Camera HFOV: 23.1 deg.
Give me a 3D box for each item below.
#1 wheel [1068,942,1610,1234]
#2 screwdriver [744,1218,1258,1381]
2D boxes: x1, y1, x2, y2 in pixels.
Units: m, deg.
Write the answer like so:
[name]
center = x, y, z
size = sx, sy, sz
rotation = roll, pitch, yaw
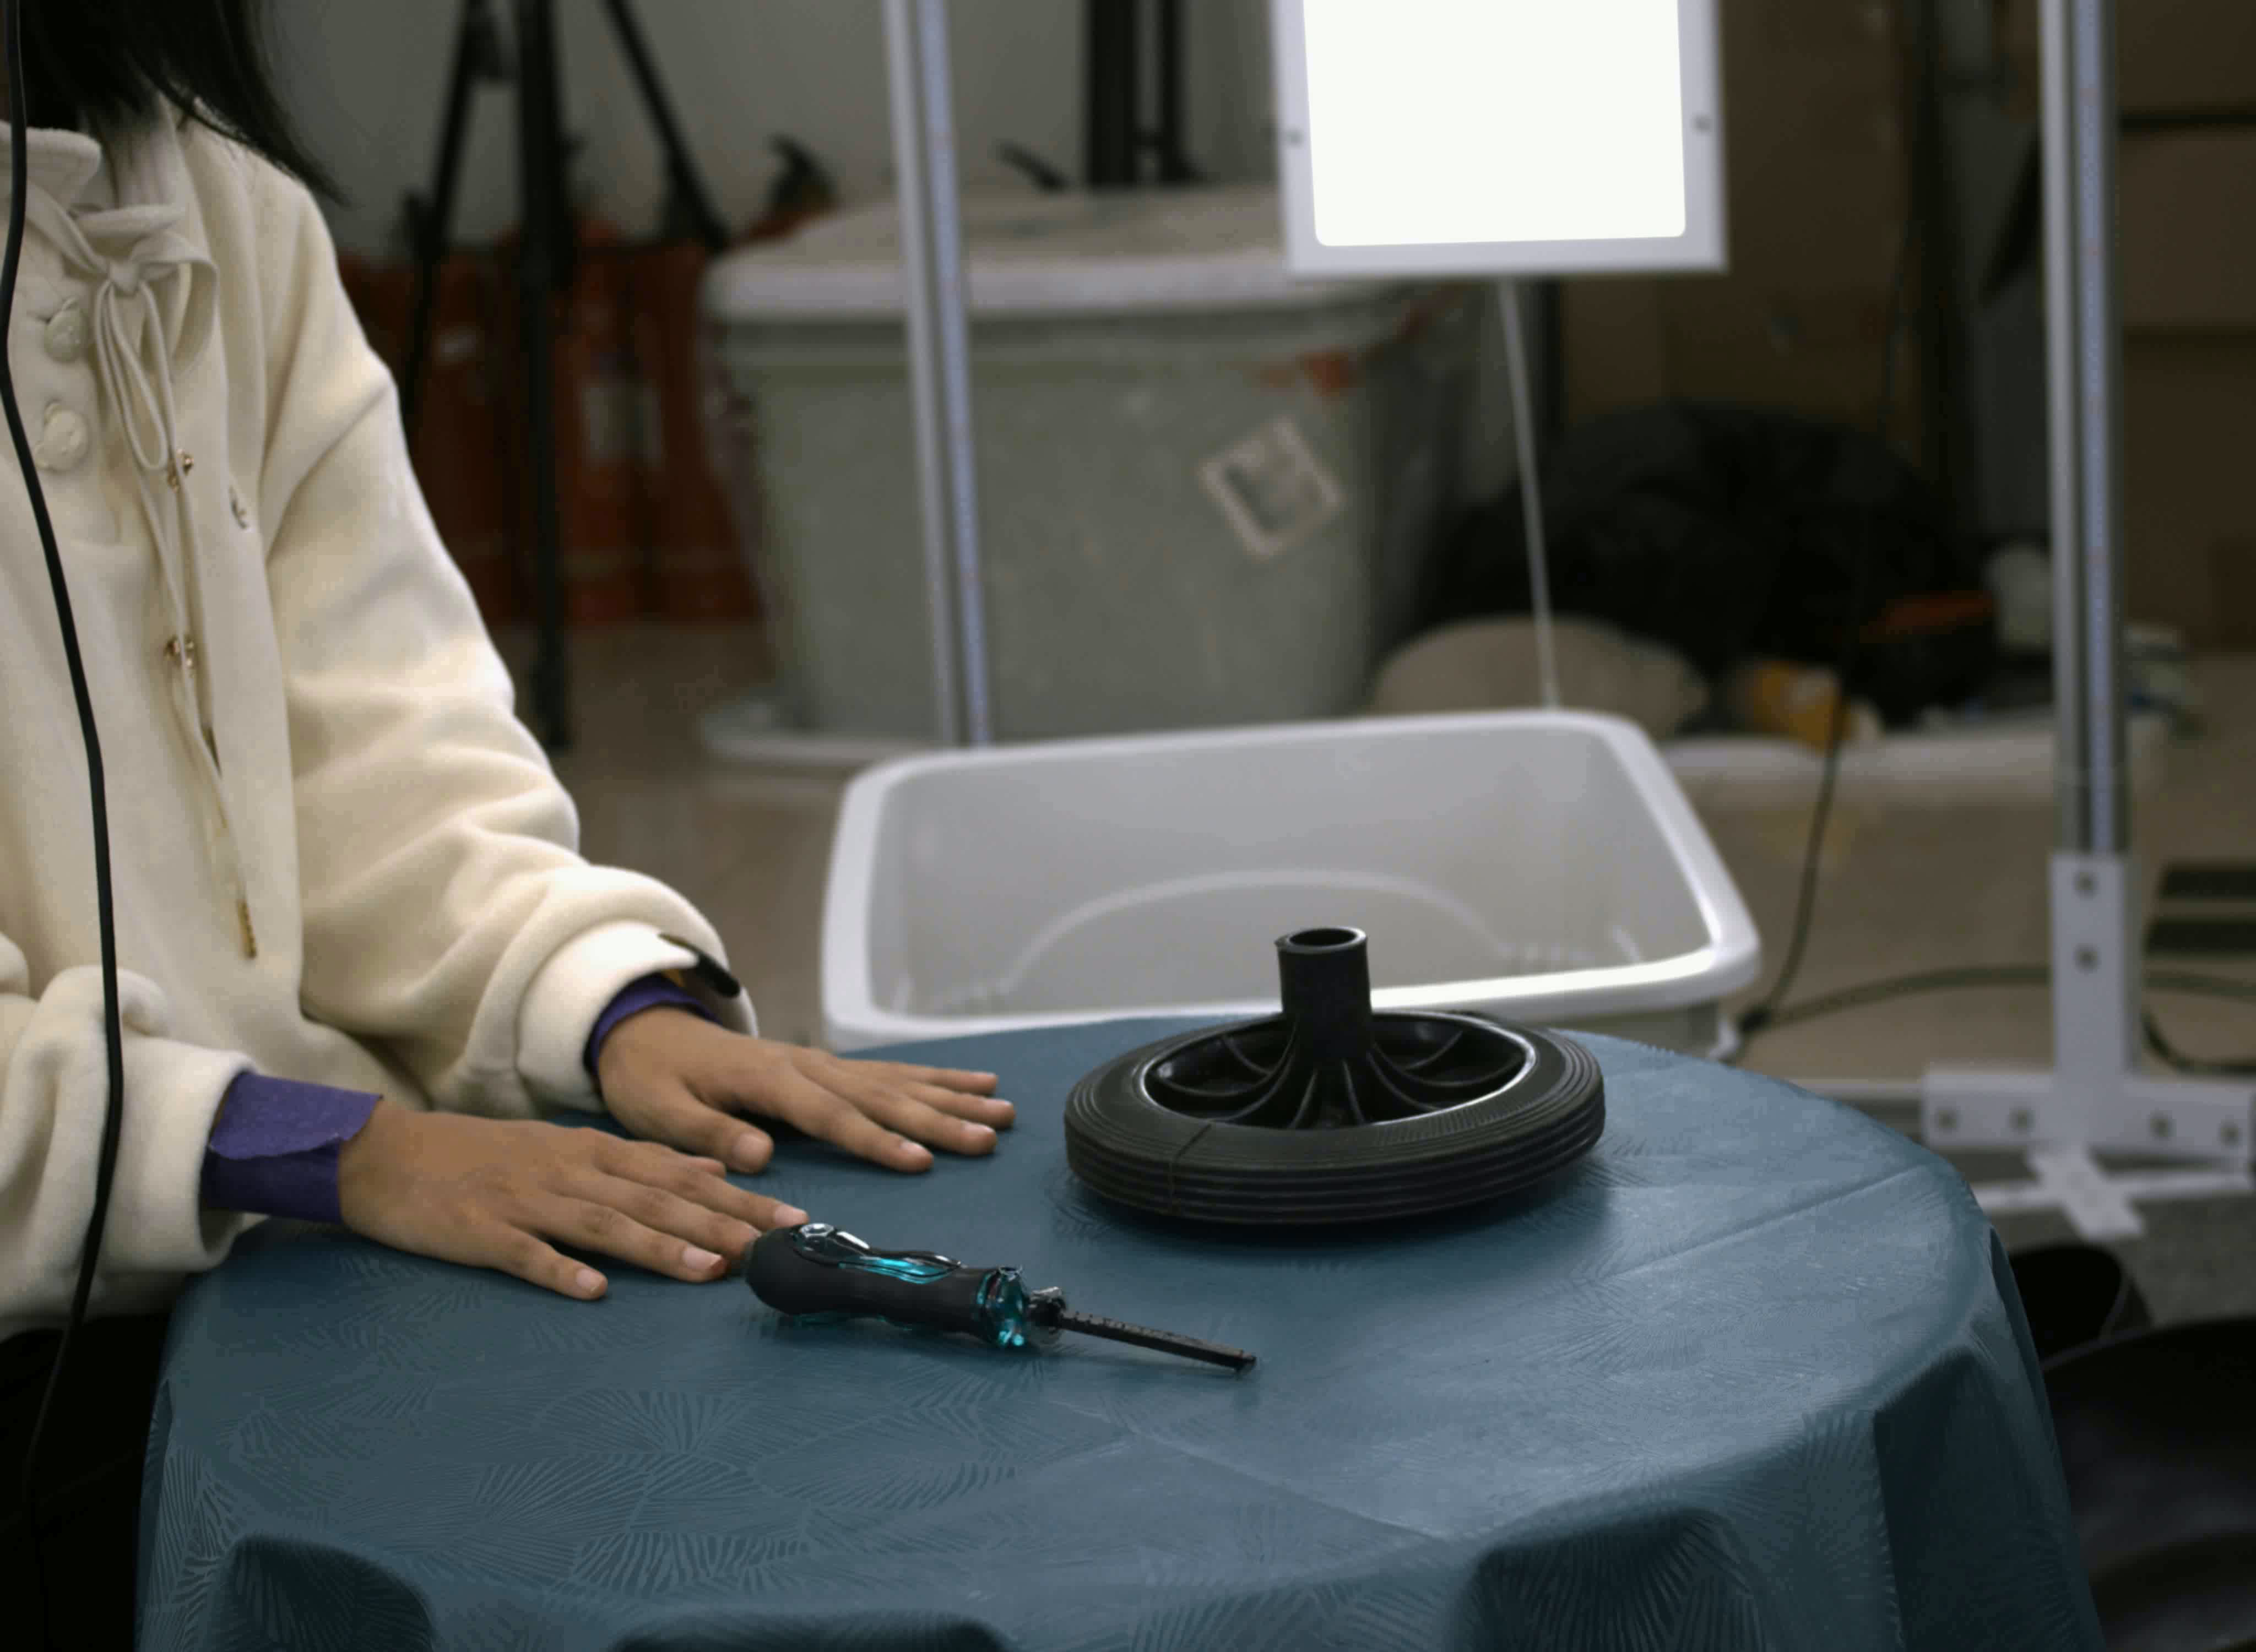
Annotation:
[wheel]
center = 0.071, 0.082, 1.896
size = 0.185, 0.079, 0.192
rotation = -9, 14, -14
[screwdriver]
center = -0.041, 0.155, 1.753
size = 0.193, 0.034, 0.033
rotation = 10, 19, 32
